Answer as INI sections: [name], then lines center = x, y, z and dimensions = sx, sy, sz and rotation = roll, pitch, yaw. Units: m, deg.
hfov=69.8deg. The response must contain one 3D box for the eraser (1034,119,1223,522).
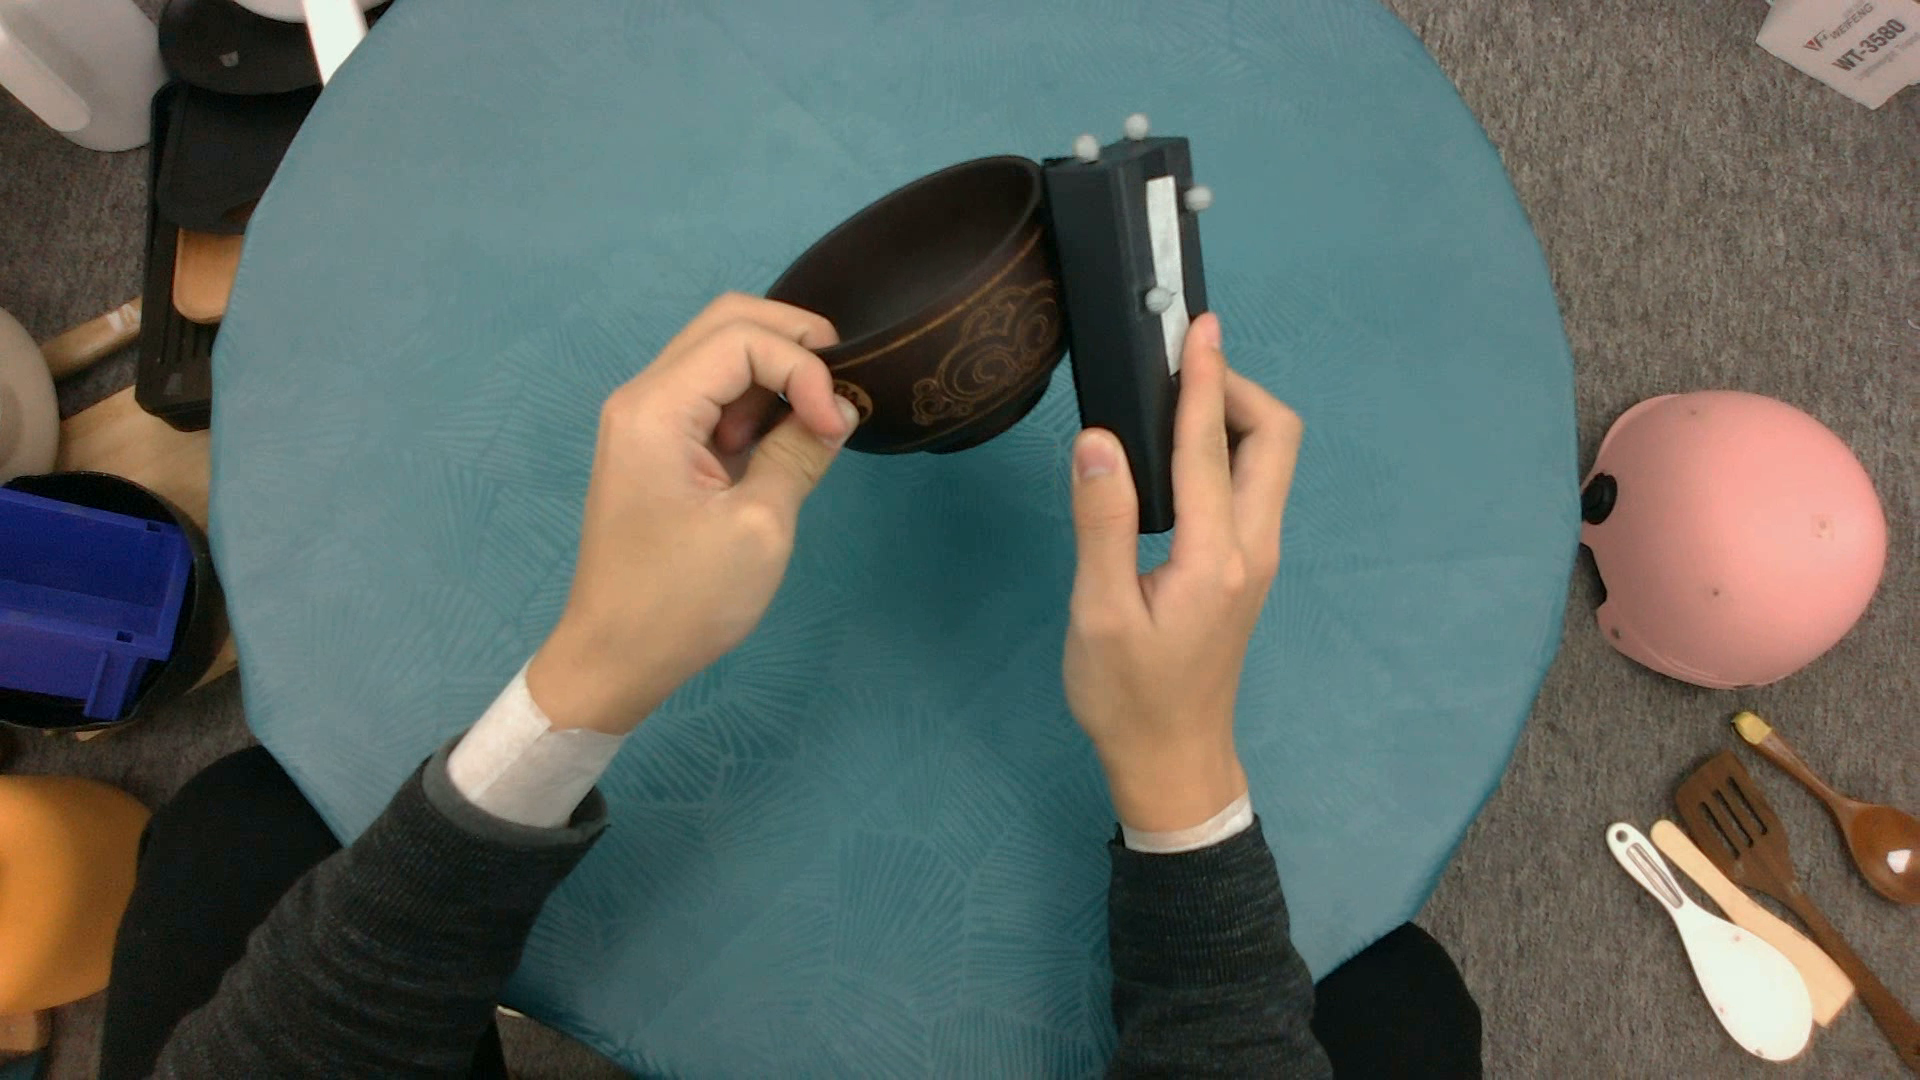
[eraser]
center = 0.058, -0.073, 0.463
dimensions = 0.054, 0.030, 0.125
rotation = -32, 120, -42

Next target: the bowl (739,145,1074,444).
[bowl]
center = -0.011, -0.078, 0.485
dimensions = 0.118, 0.118, 0.069
rotation = -38, 125, -11
